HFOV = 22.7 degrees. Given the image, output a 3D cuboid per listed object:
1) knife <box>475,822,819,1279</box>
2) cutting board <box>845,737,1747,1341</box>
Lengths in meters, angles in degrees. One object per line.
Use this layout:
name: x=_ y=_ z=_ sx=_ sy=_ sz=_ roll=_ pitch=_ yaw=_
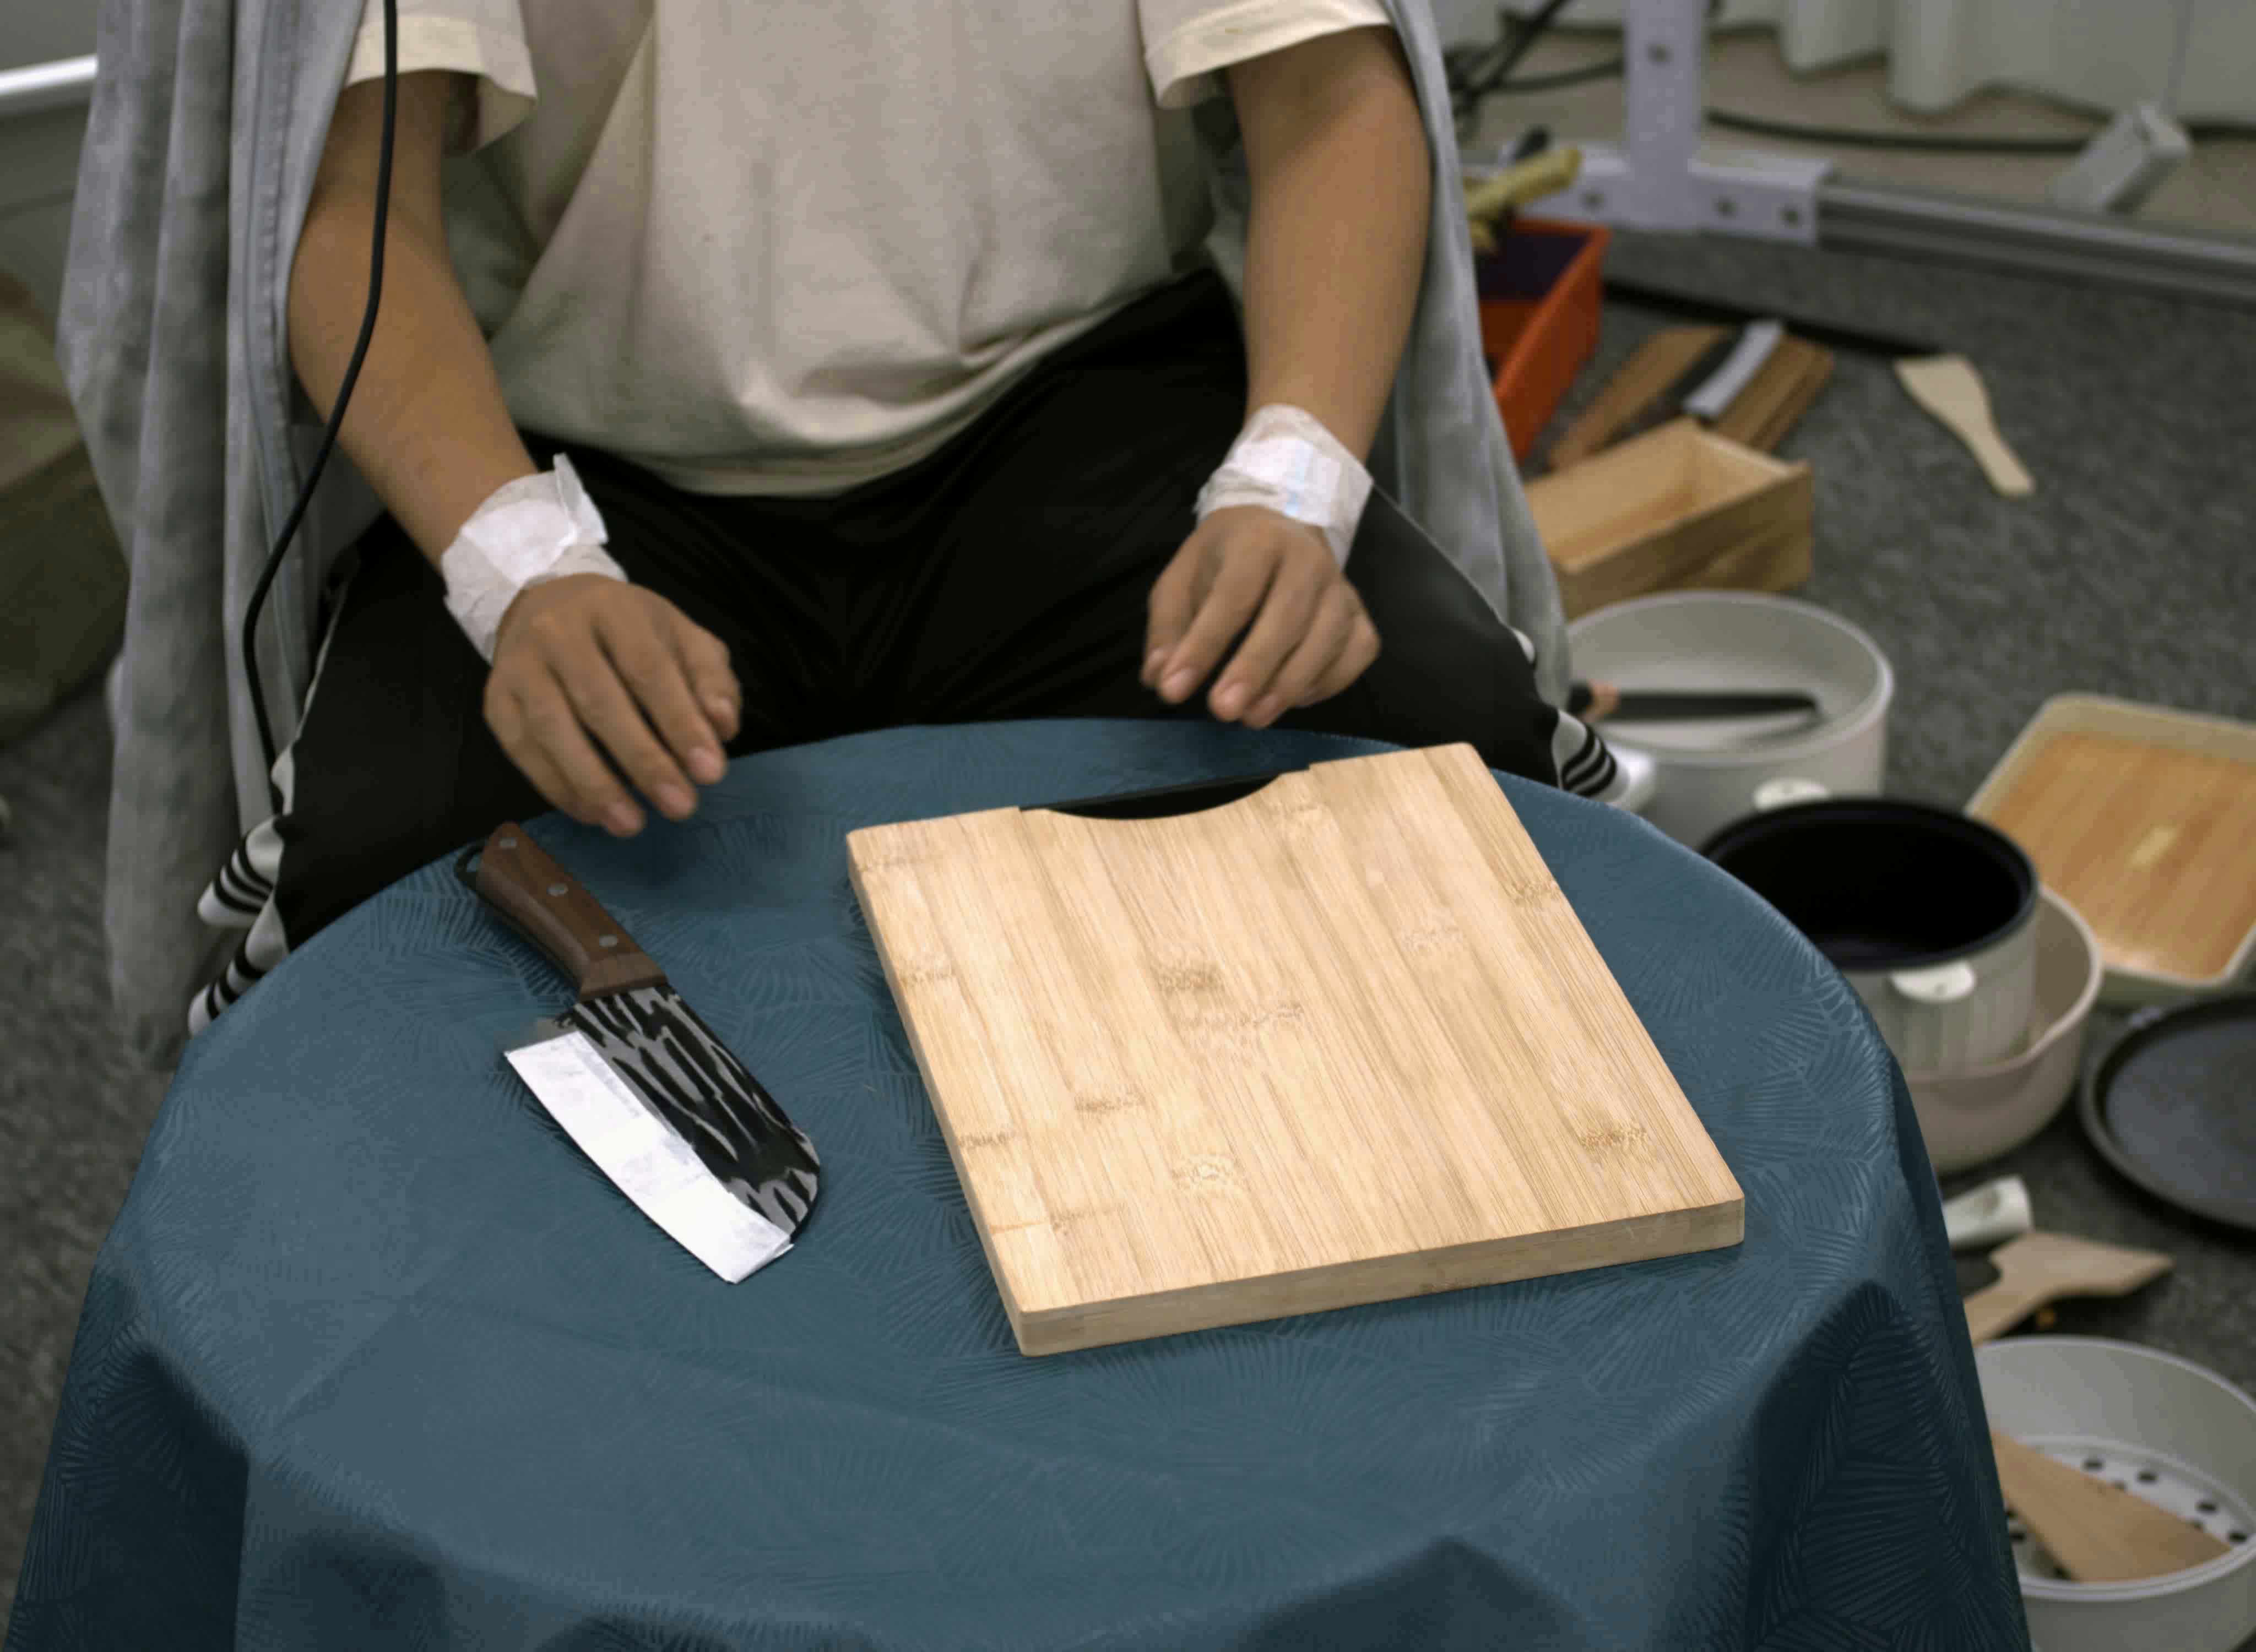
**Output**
knife: x=-0.178 y=0.076 z=1.945 sx=0.068 sy=0.023 sz=0.301 roll=-17 pitch=33 yaw=-22
cutting board: x=0.048 y=0.067 z=1.944 sx=0.250 sy=0.023 sz=0.352 roll=-8 pitch=27 yaw=-11
